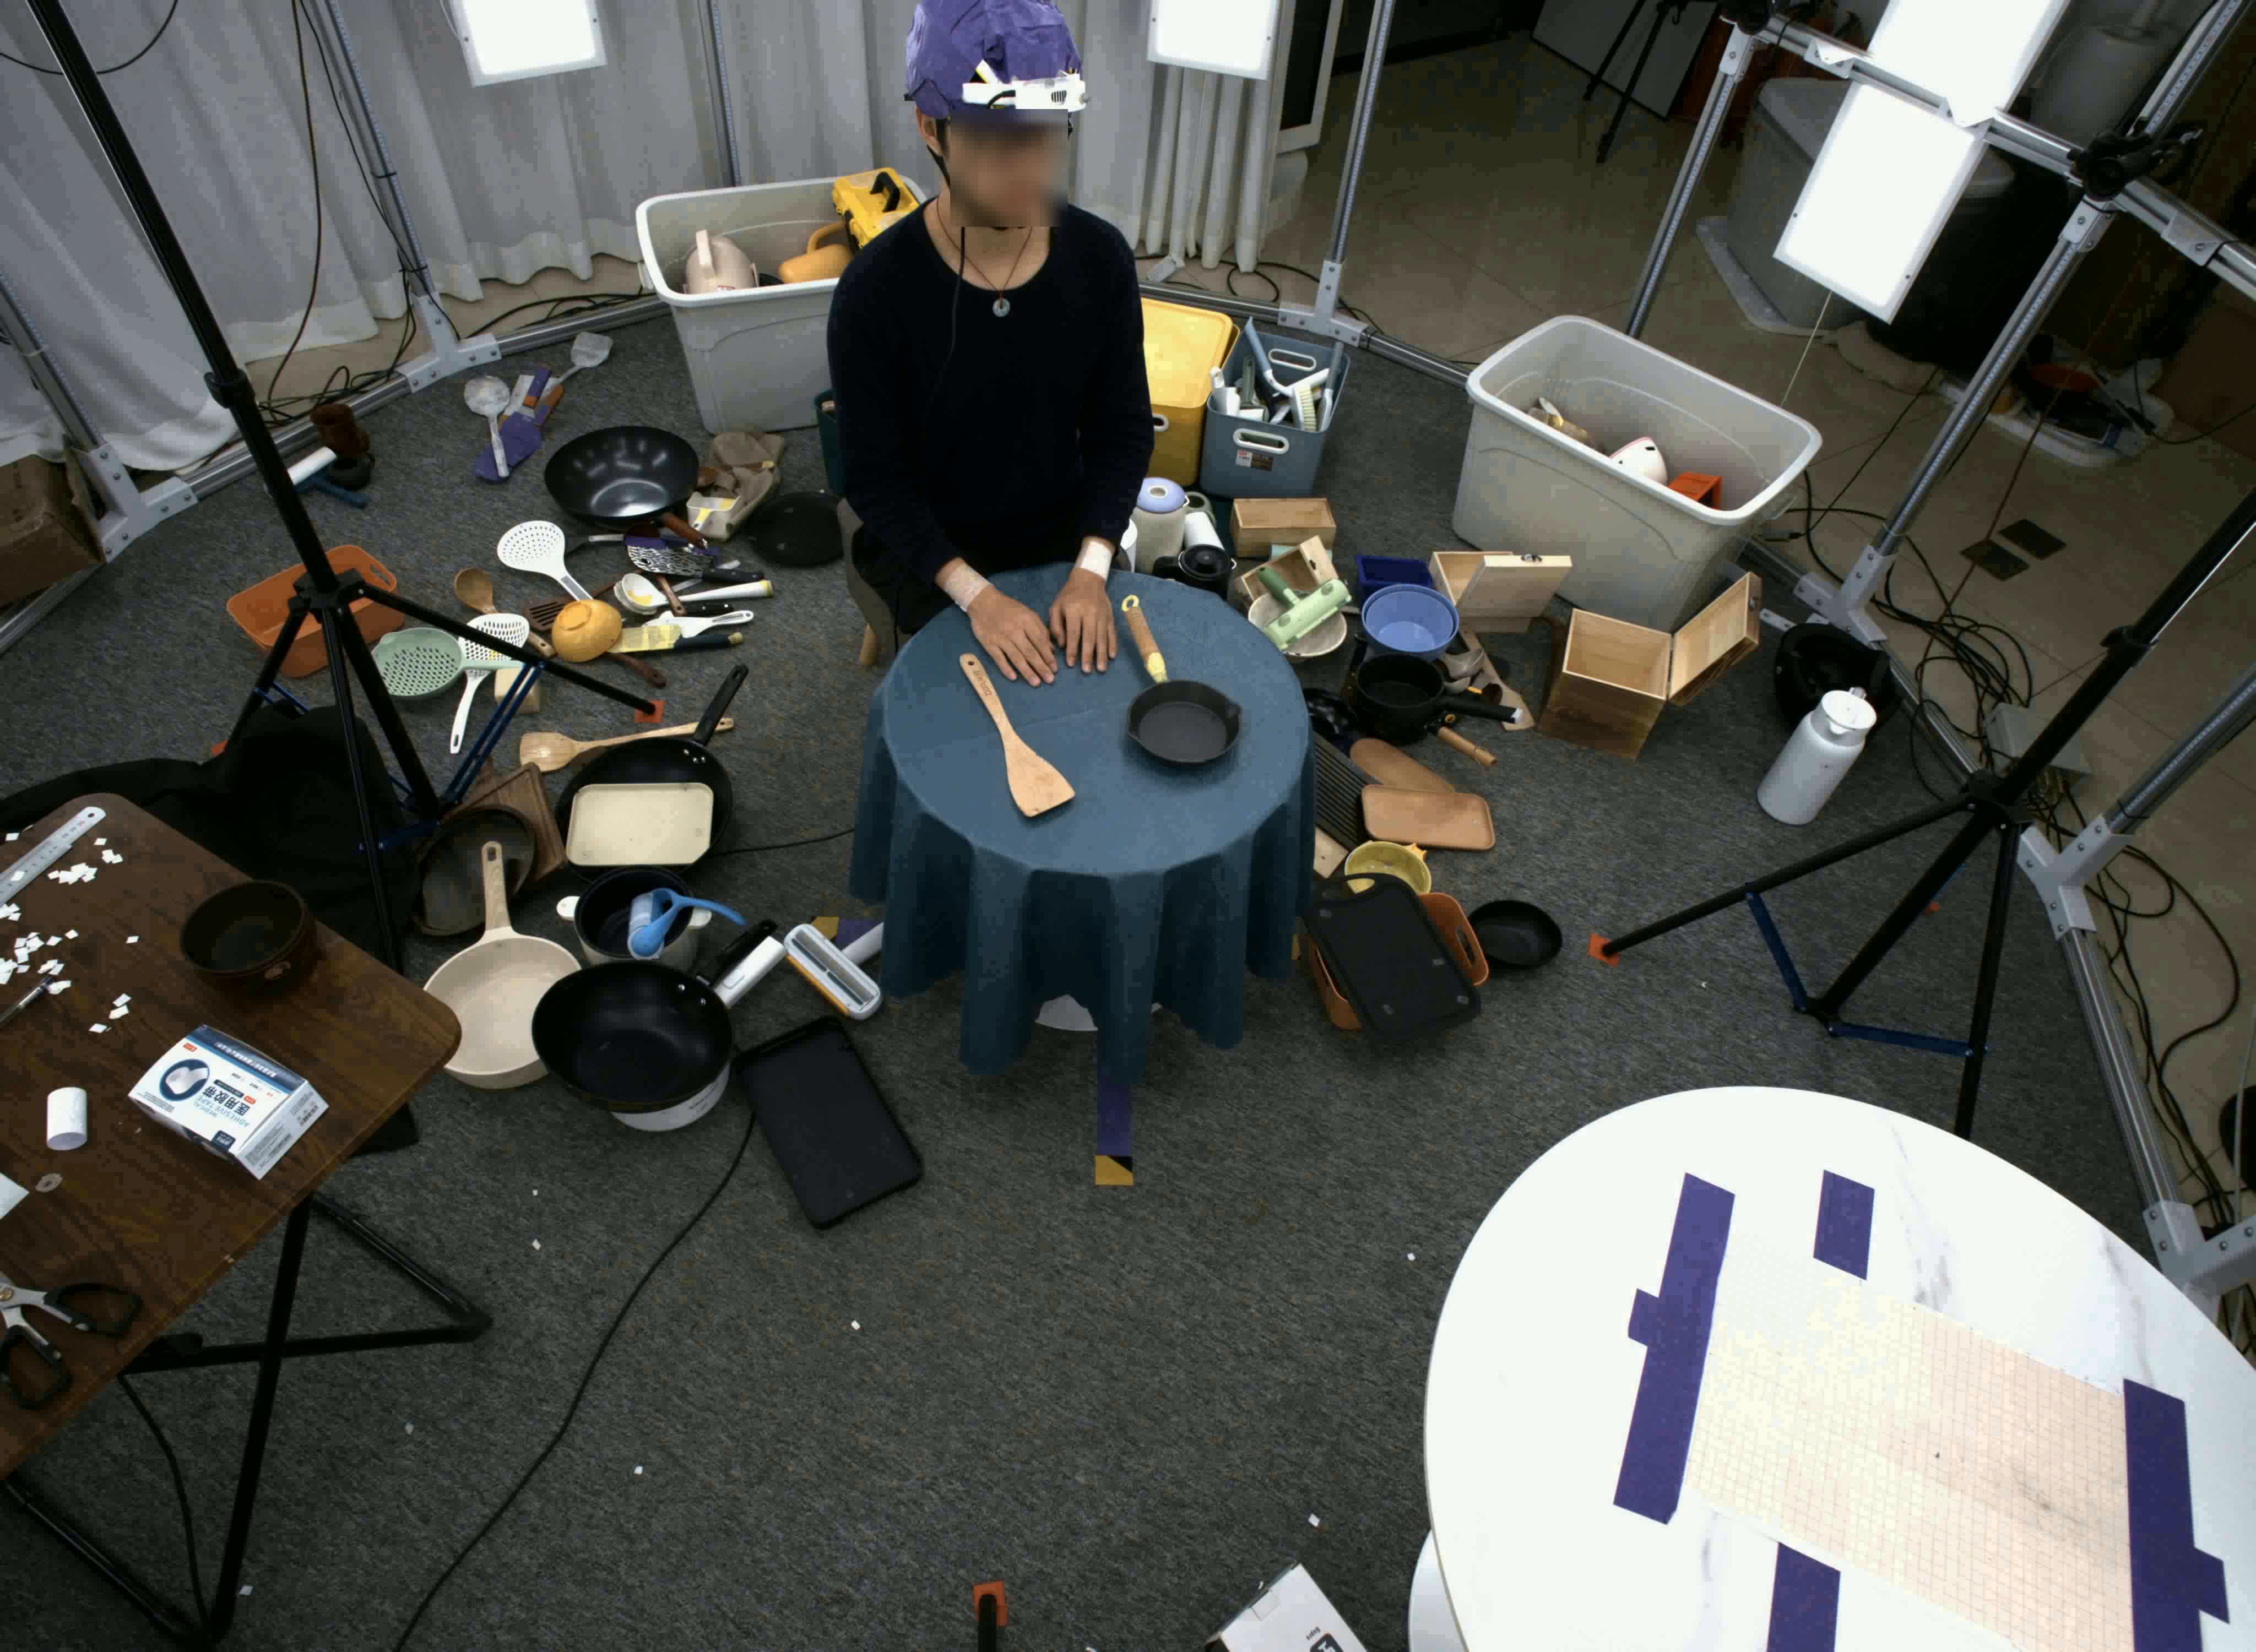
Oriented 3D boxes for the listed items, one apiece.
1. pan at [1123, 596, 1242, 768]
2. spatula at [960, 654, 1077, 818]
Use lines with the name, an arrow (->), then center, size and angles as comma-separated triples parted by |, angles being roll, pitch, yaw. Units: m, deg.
pan -> 0.052, -0.206, 1.818 | 0.169, 0.048, 0.332 | -11, 52, -13
spatula -> -0.164, -0.133, 1.762 | 0.080, 0.016, 0.335 | -17, 52, -18
